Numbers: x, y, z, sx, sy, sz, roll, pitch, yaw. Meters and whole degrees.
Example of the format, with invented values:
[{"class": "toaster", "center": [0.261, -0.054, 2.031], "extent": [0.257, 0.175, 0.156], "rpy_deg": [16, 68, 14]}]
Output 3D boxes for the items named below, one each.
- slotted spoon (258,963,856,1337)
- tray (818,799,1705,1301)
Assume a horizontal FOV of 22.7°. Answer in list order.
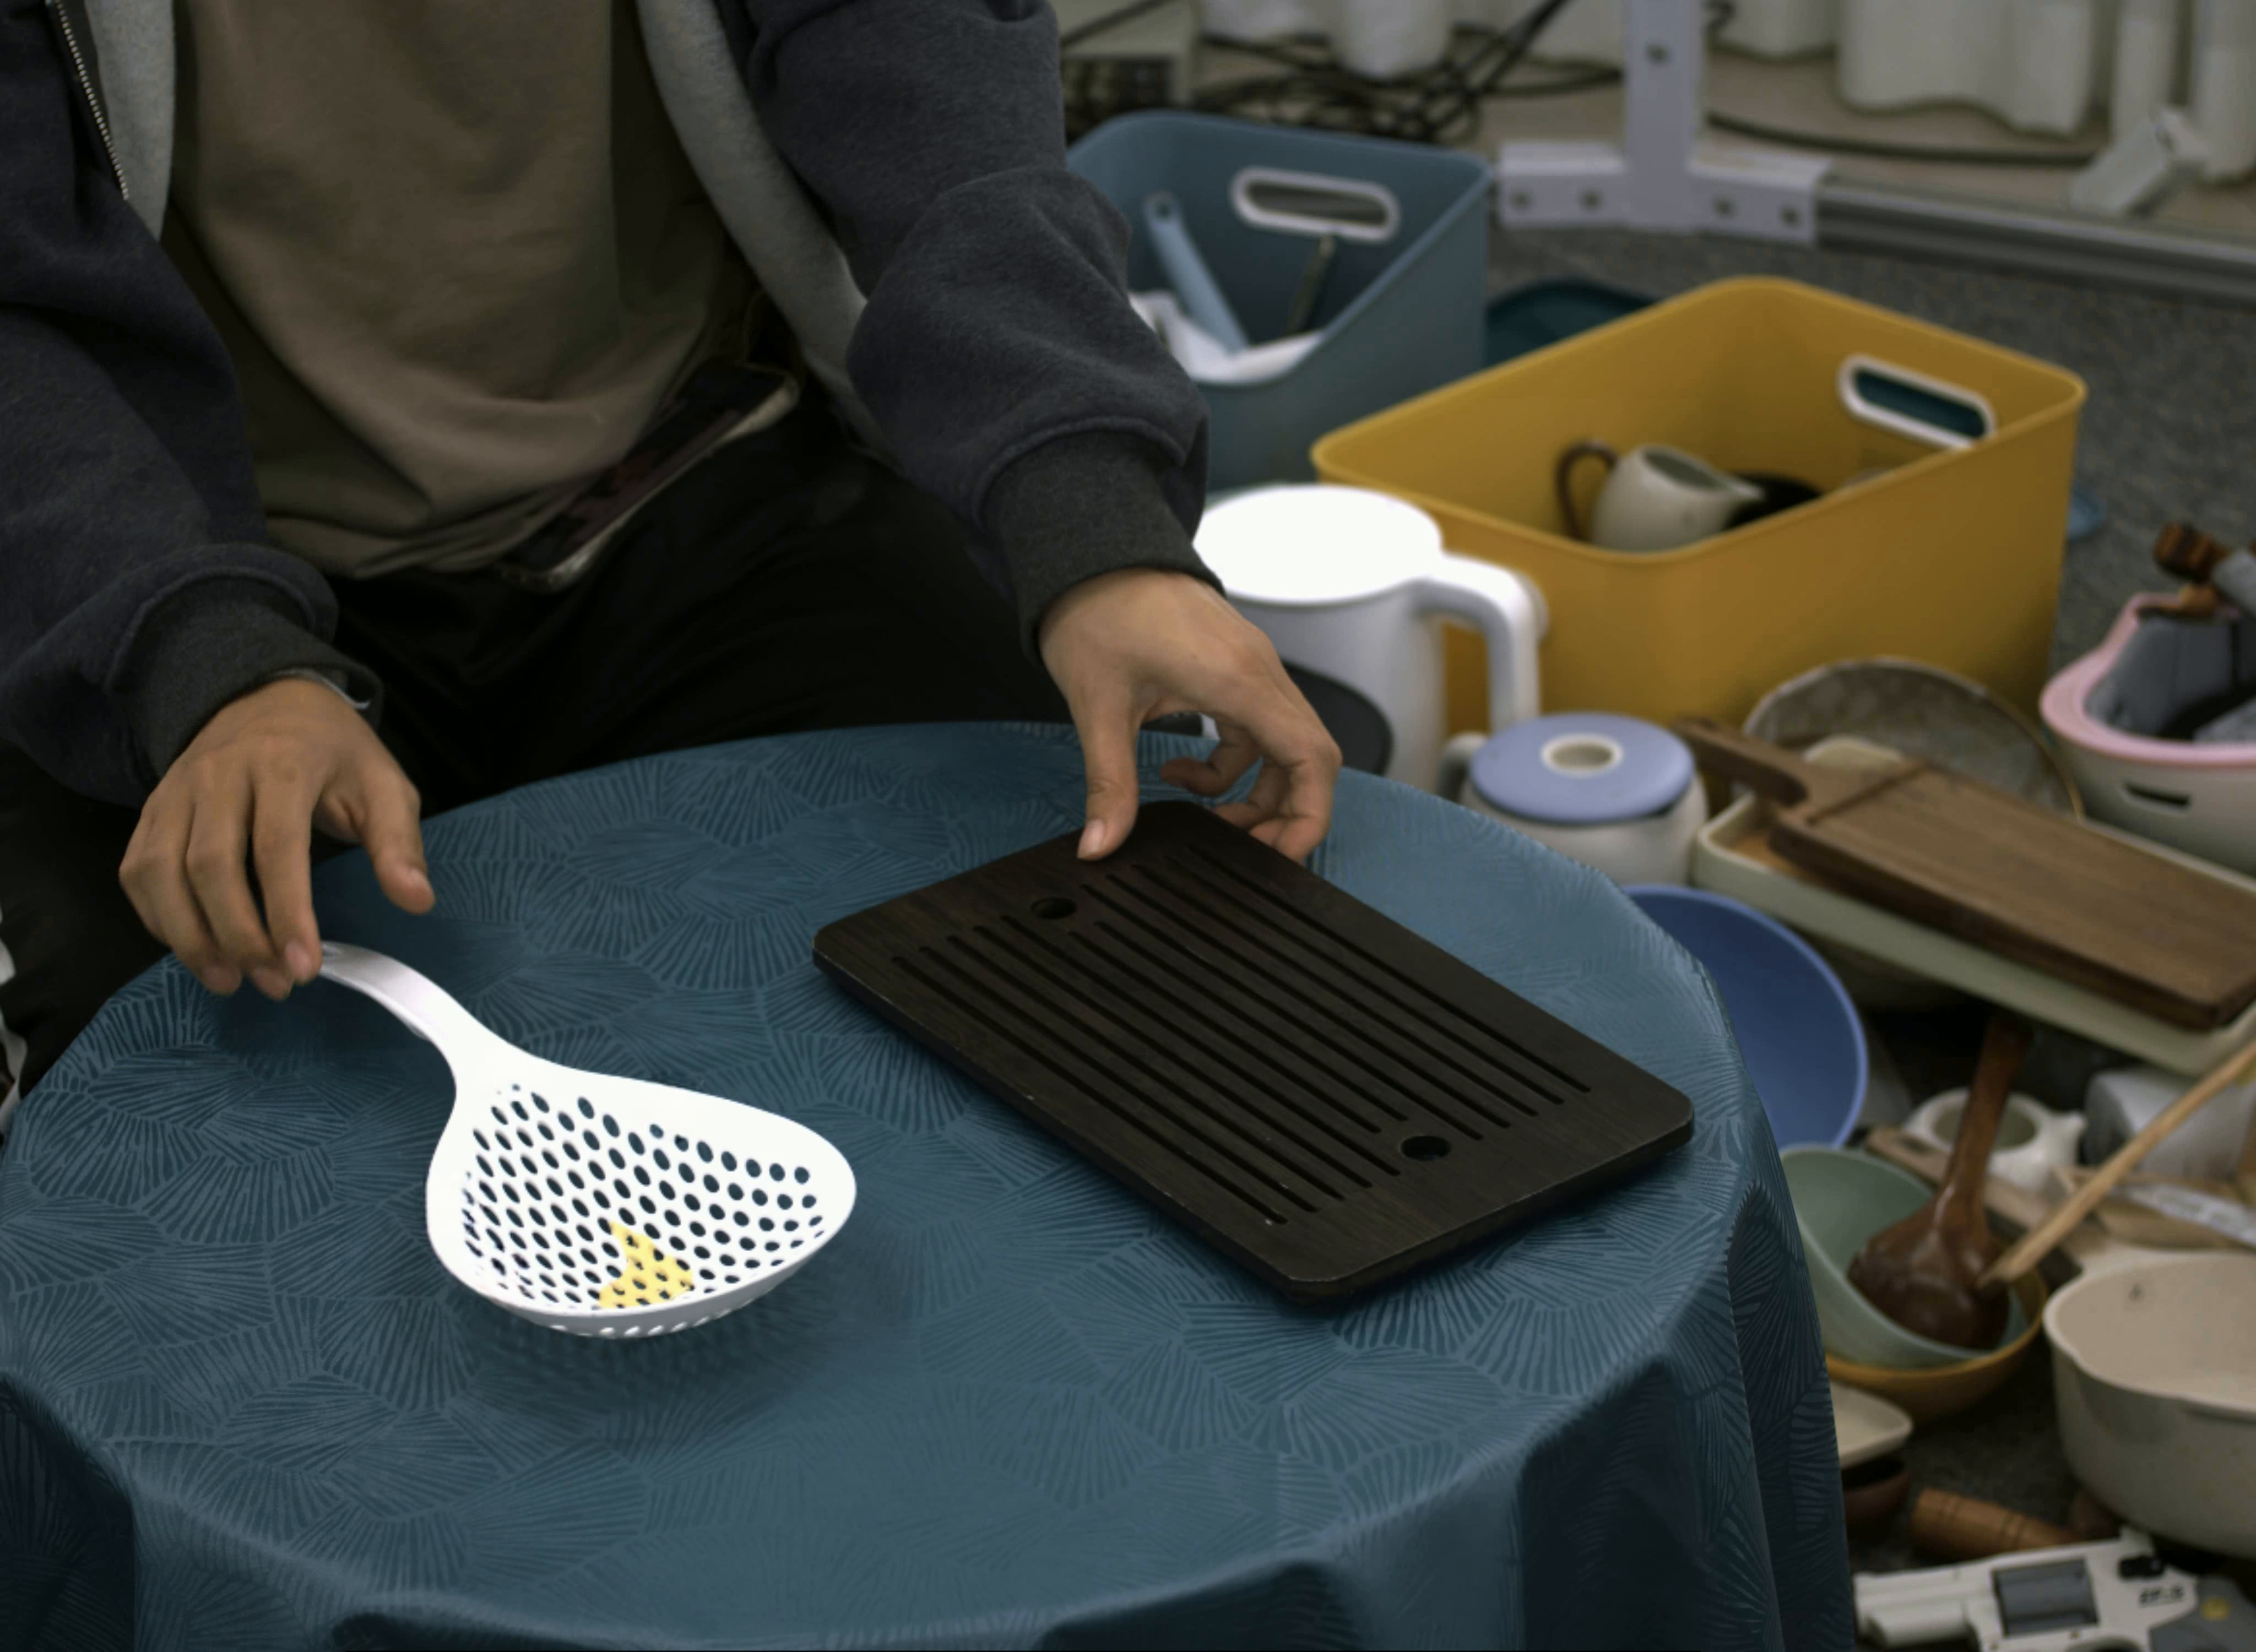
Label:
[{"class": "slotted spoon", "center": [-0.212, 0.095, 1.890], "extent": [0.138, 0.050, 0.349], "rpy_deg": [-20, 32, -26]}, {"class": "tray", "center": [0.041, 0.073, 1.932], "extent": [0.171, 0.018, 0.306], "rpy_deg": [-20, 32, -30]}]
